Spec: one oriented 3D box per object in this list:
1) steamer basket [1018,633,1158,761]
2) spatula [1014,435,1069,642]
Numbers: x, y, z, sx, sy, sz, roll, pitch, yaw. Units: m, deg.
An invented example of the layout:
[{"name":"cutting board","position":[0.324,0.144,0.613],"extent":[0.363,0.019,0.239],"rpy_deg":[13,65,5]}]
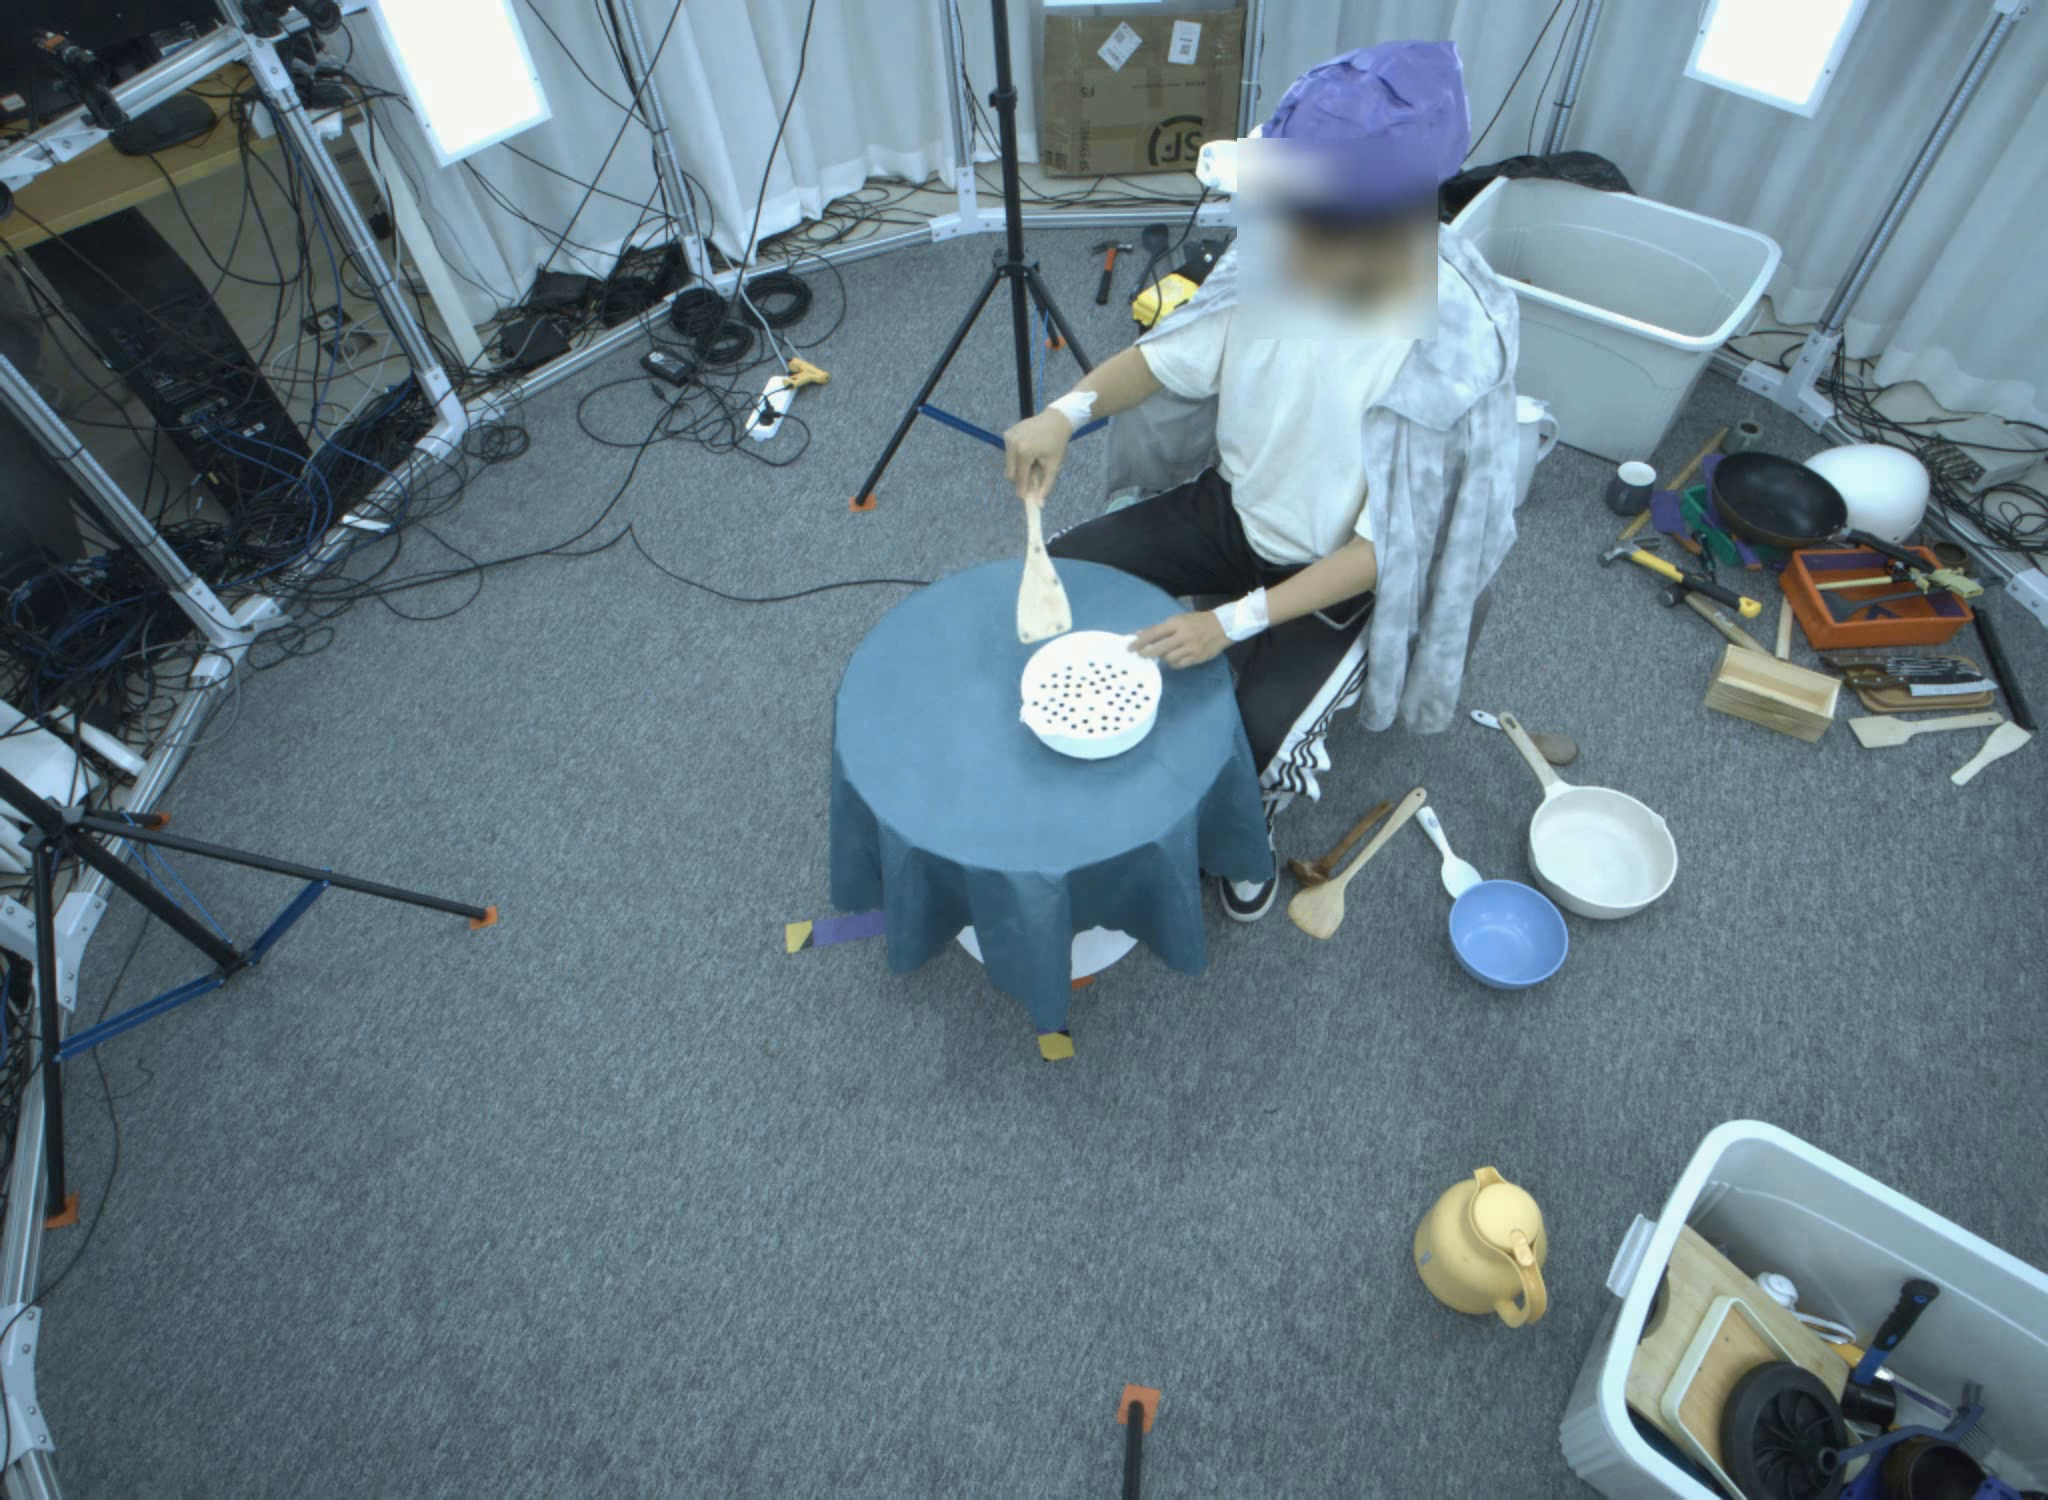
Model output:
[{"name":"steamer basket","position":[0.094,-0.076,1.800],"extent":[0.232,0.070,0.198],"rpy_deg":[-35,62,-21]},{"name":"spatula","position":[0.013,-0.316,1.798],"extent":[0.080,0.016,0.326],"rpy_deg":[-6,80,5]}]
